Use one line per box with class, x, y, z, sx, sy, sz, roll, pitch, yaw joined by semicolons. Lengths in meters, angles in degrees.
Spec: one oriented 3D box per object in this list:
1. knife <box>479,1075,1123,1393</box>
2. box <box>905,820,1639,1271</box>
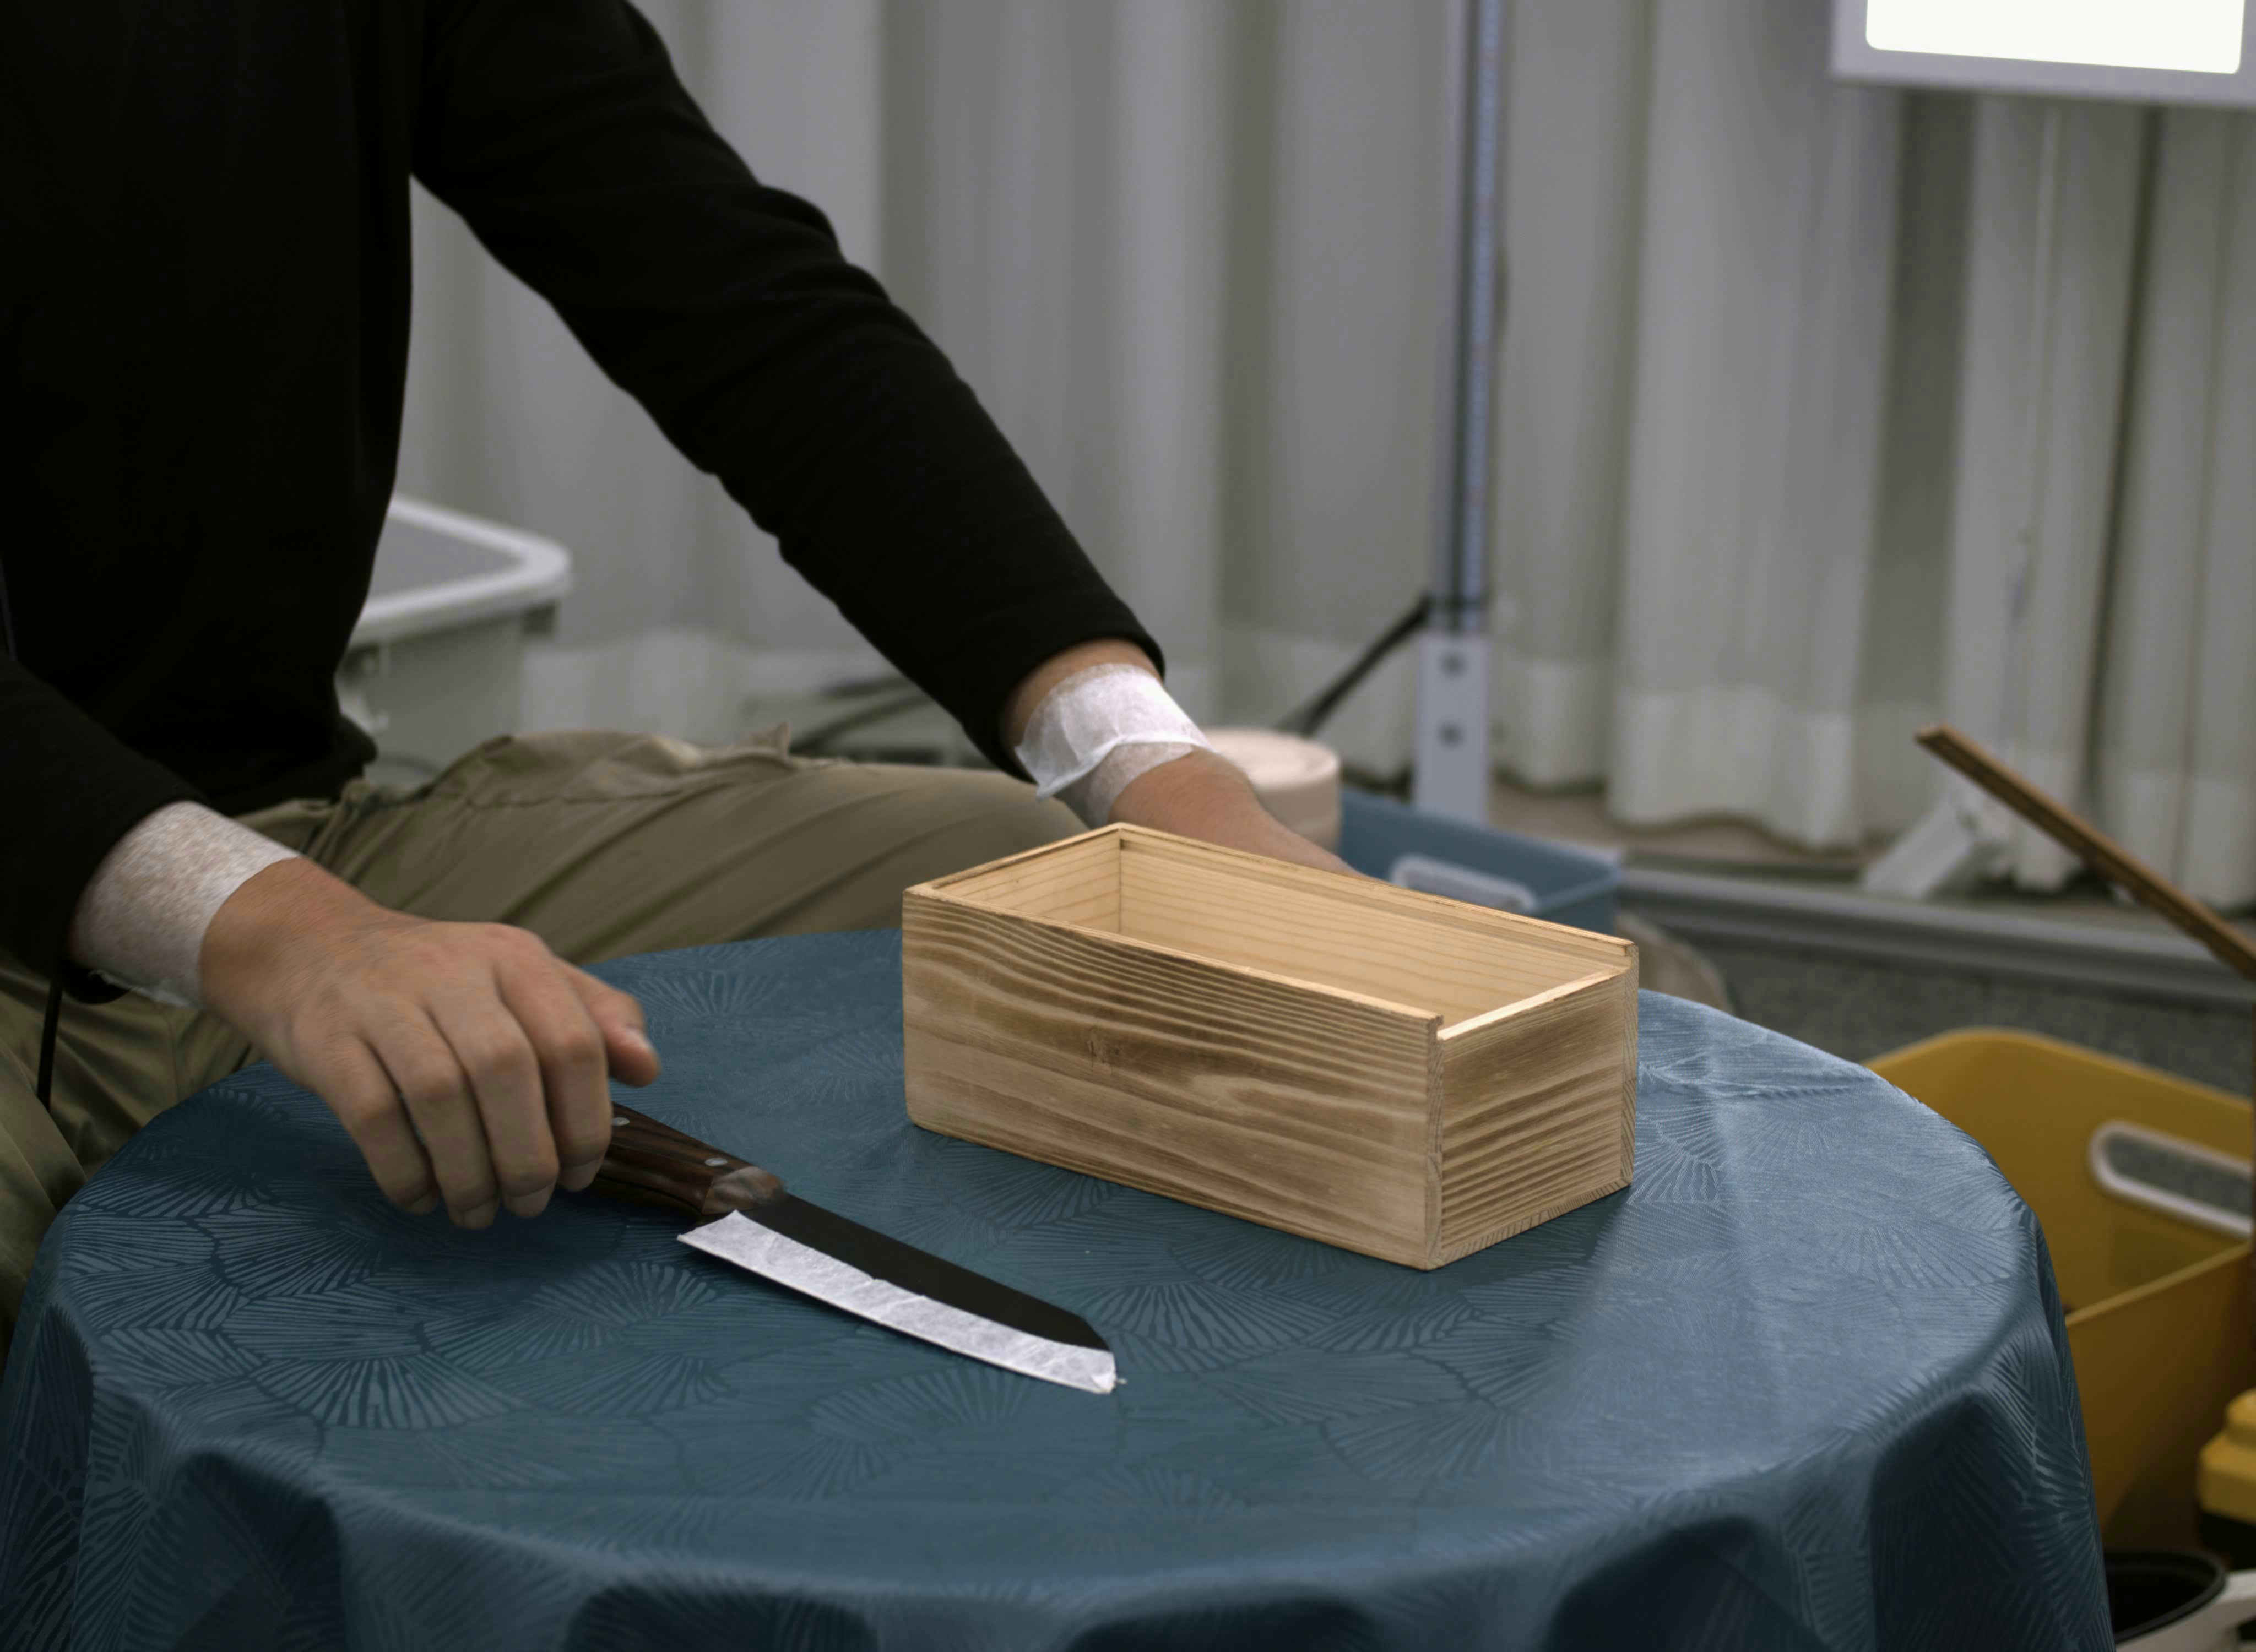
knife;-0.101;0.121;1.558;0.050;0.020;0.285;-20;28;-40
box;0.042;0.065;1.644;0.208;0.081;0.108;14;20;38
